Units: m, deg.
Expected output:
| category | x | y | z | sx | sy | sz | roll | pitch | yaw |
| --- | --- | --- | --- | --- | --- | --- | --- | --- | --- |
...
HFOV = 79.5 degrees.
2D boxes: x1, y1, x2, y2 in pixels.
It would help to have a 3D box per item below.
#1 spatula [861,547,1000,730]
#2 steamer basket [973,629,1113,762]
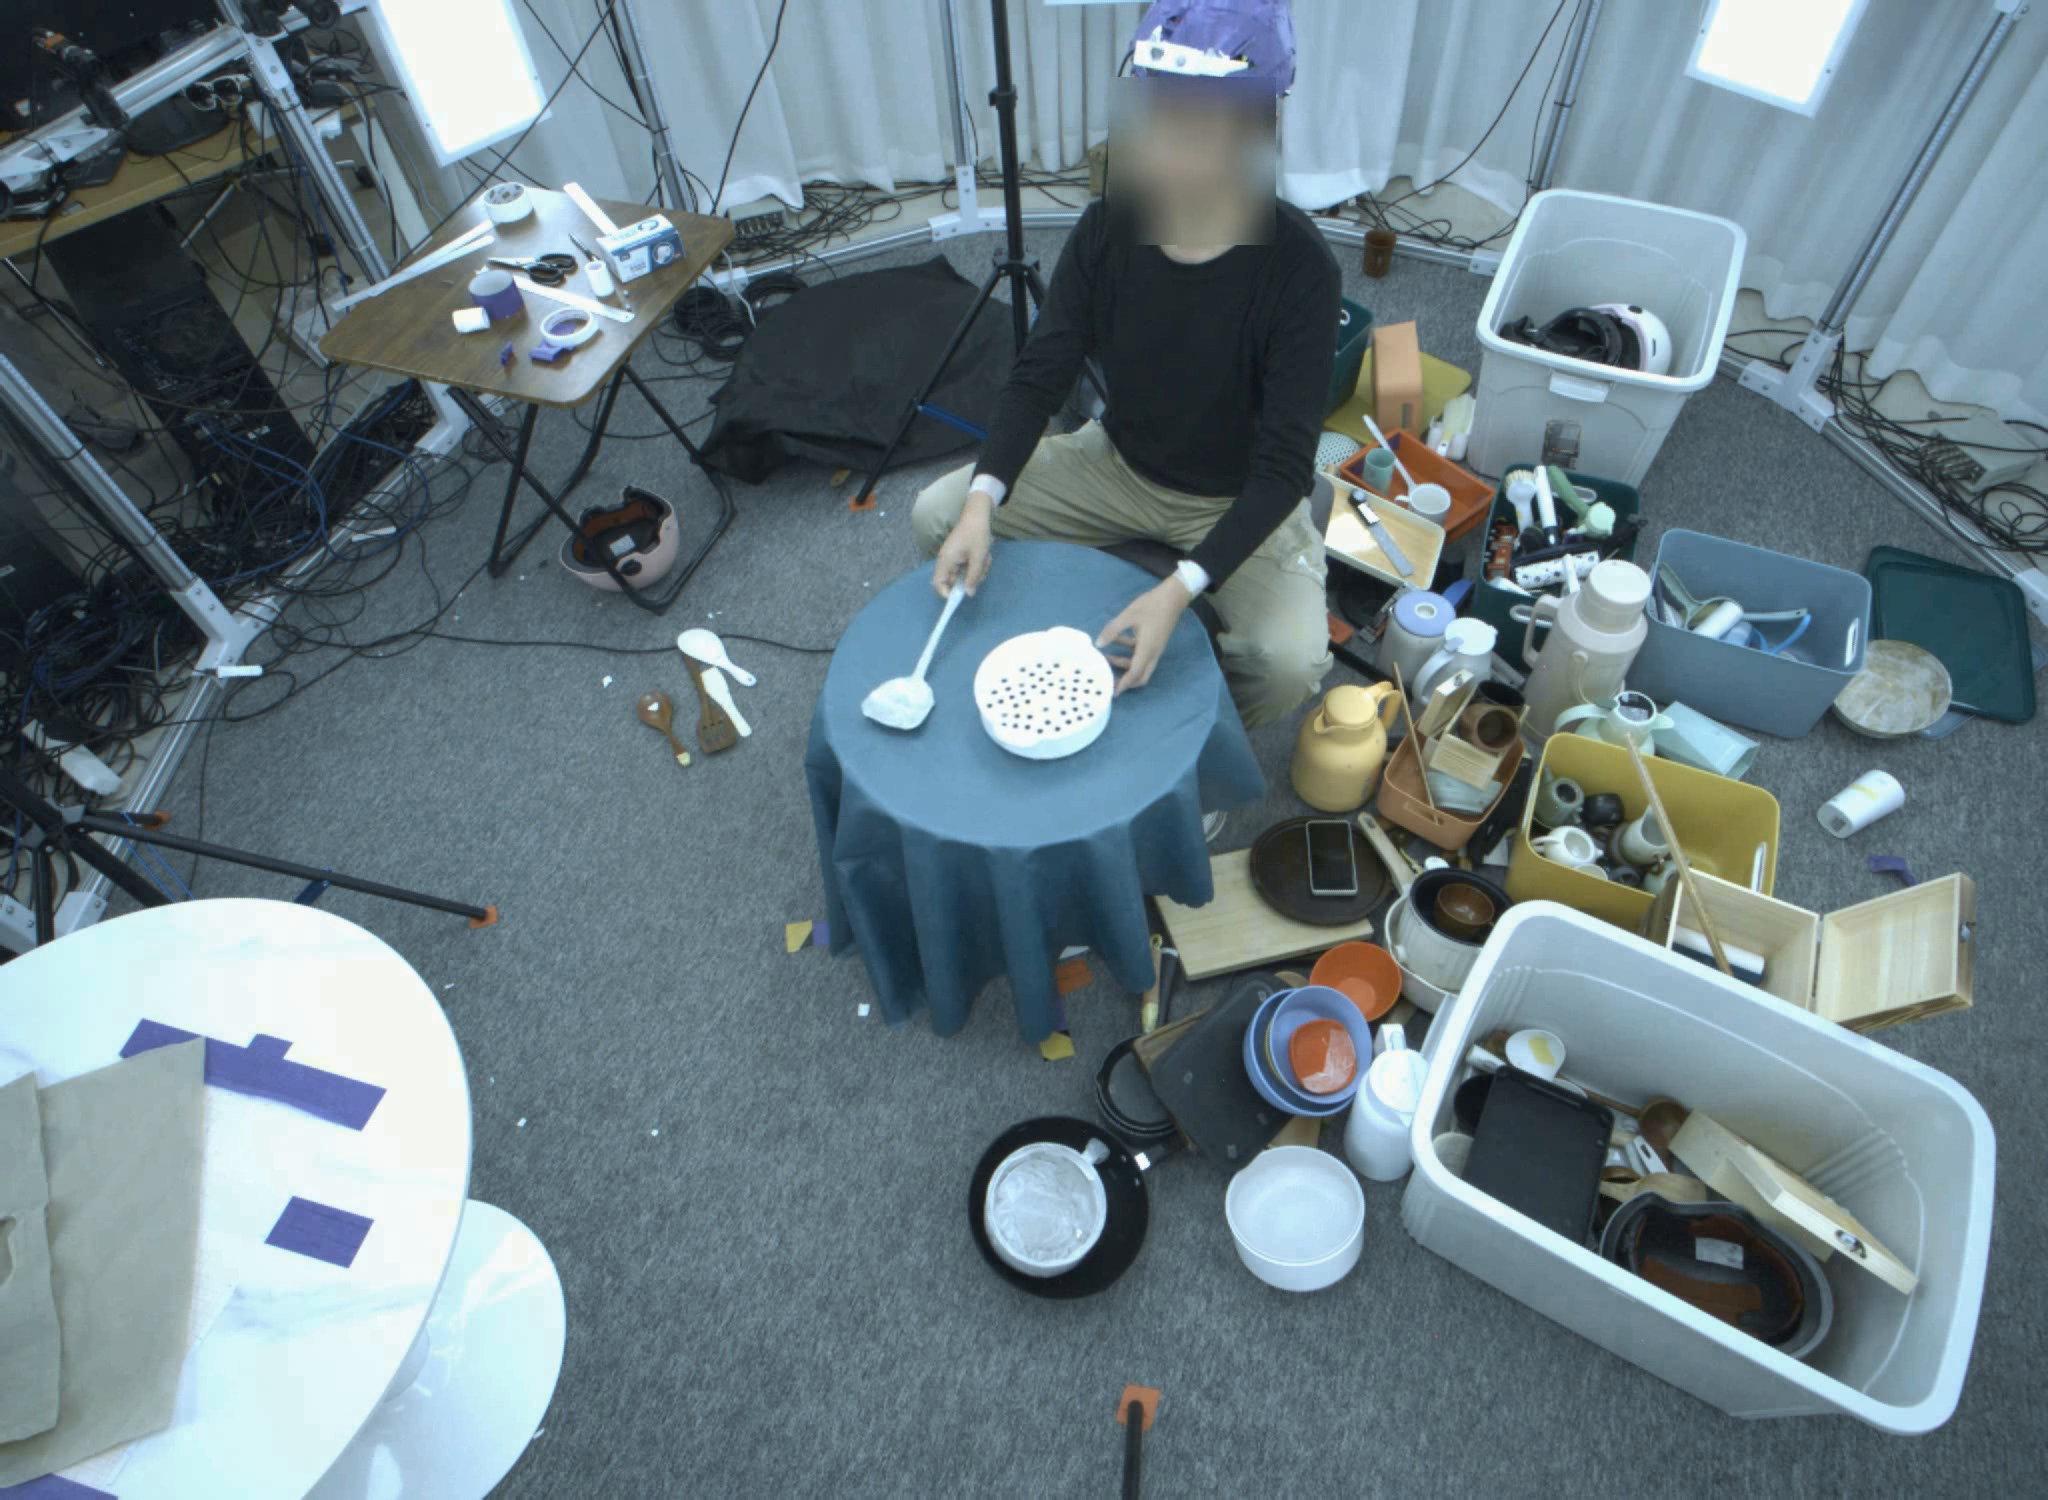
| category | x | y | z | sx | sy | sz | roll | pitch | yaw |
| --- | --- | --- | --- | --- | --- | --- | --- | --- | --- |
| spatula | -0.128 | -0.182 | 1.872 | 0.097 | 0.045 | 0.365 | 20 | 70 | 17 |
| steamer basket | 0.028 | -0.075 | 1.797 | 0.200 | 0.070 | 0.230 | 20 | 57 | 14 |
